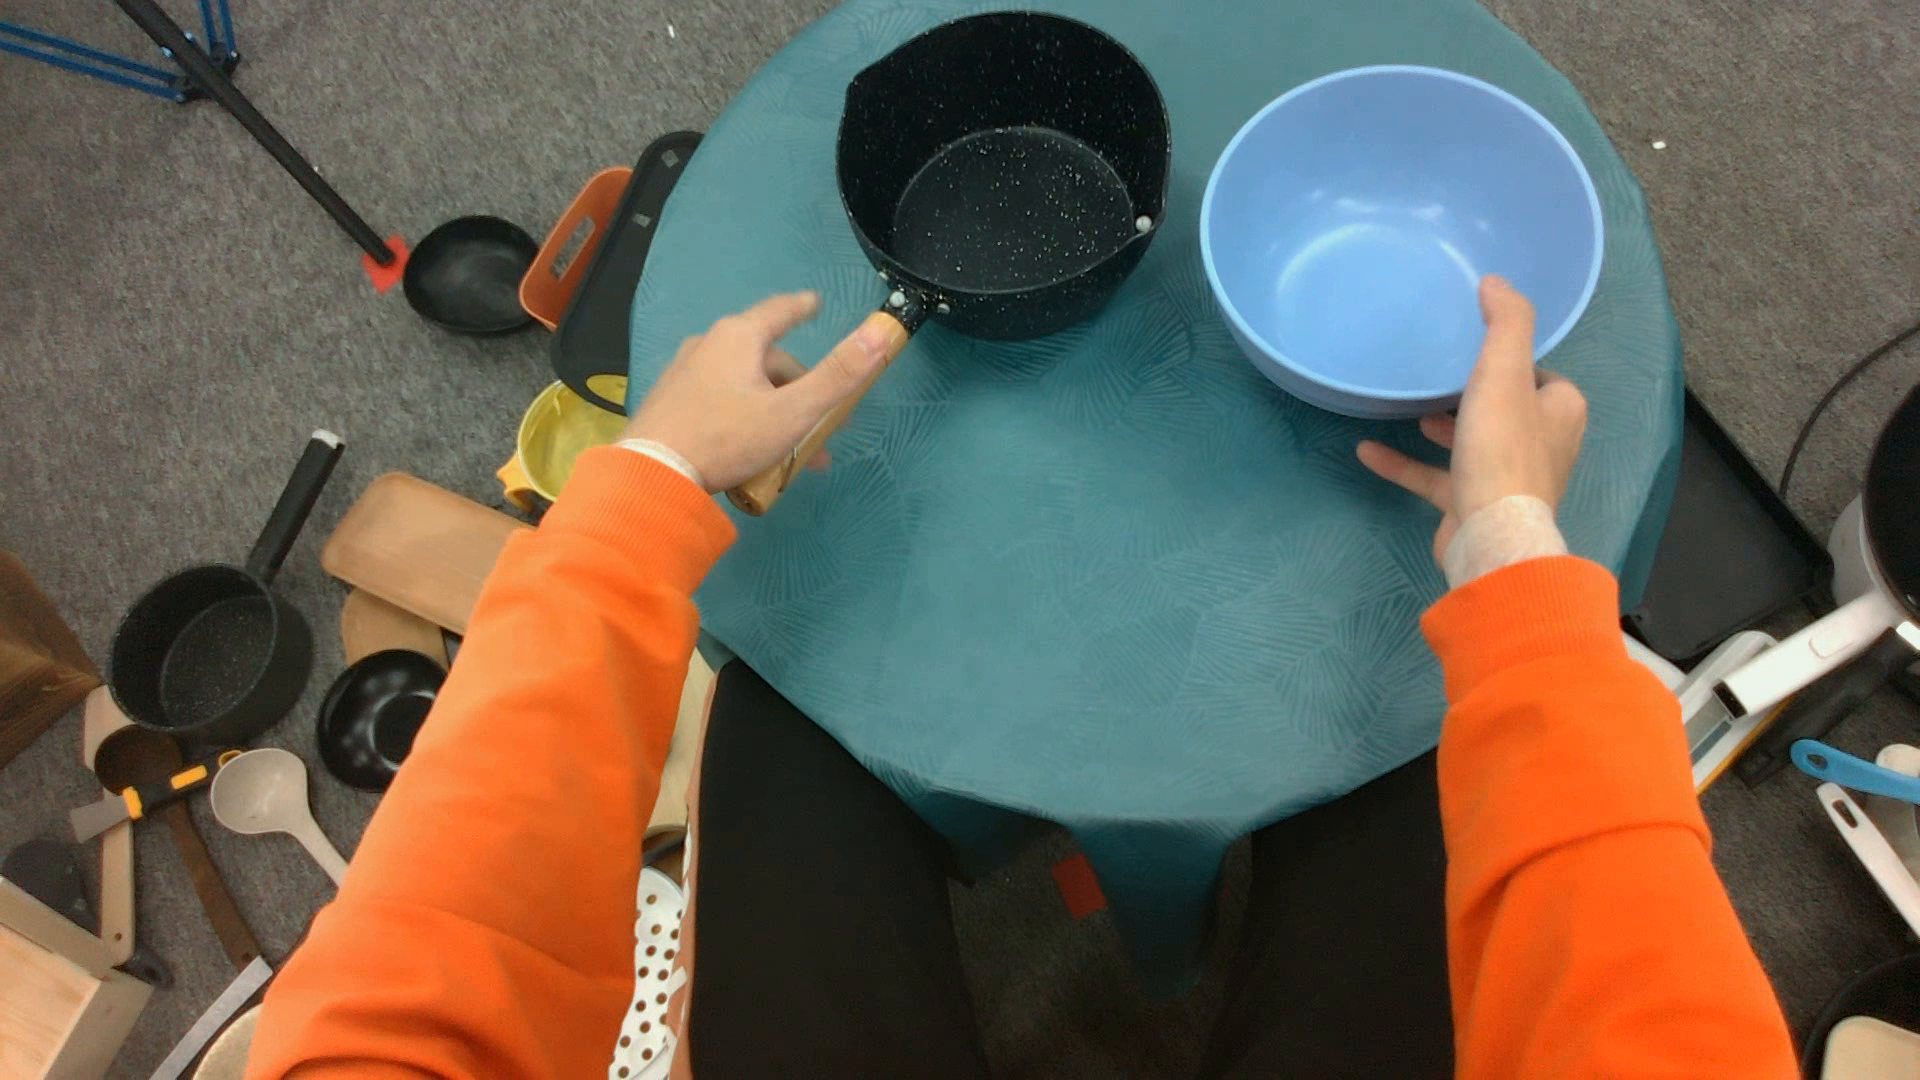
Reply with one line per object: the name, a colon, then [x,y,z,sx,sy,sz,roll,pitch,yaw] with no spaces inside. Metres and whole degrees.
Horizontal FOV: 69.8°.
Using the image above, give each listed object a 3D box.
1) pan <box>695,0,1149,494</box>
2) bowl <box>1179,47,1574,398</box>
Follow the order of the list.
pan: [-0.027,-0.149,0.758,0.207,0.108,0.344,28,73,13]
bowl: [0.214,-0.155,0.742,0.196,0.095,0.197,-2,69,4]
